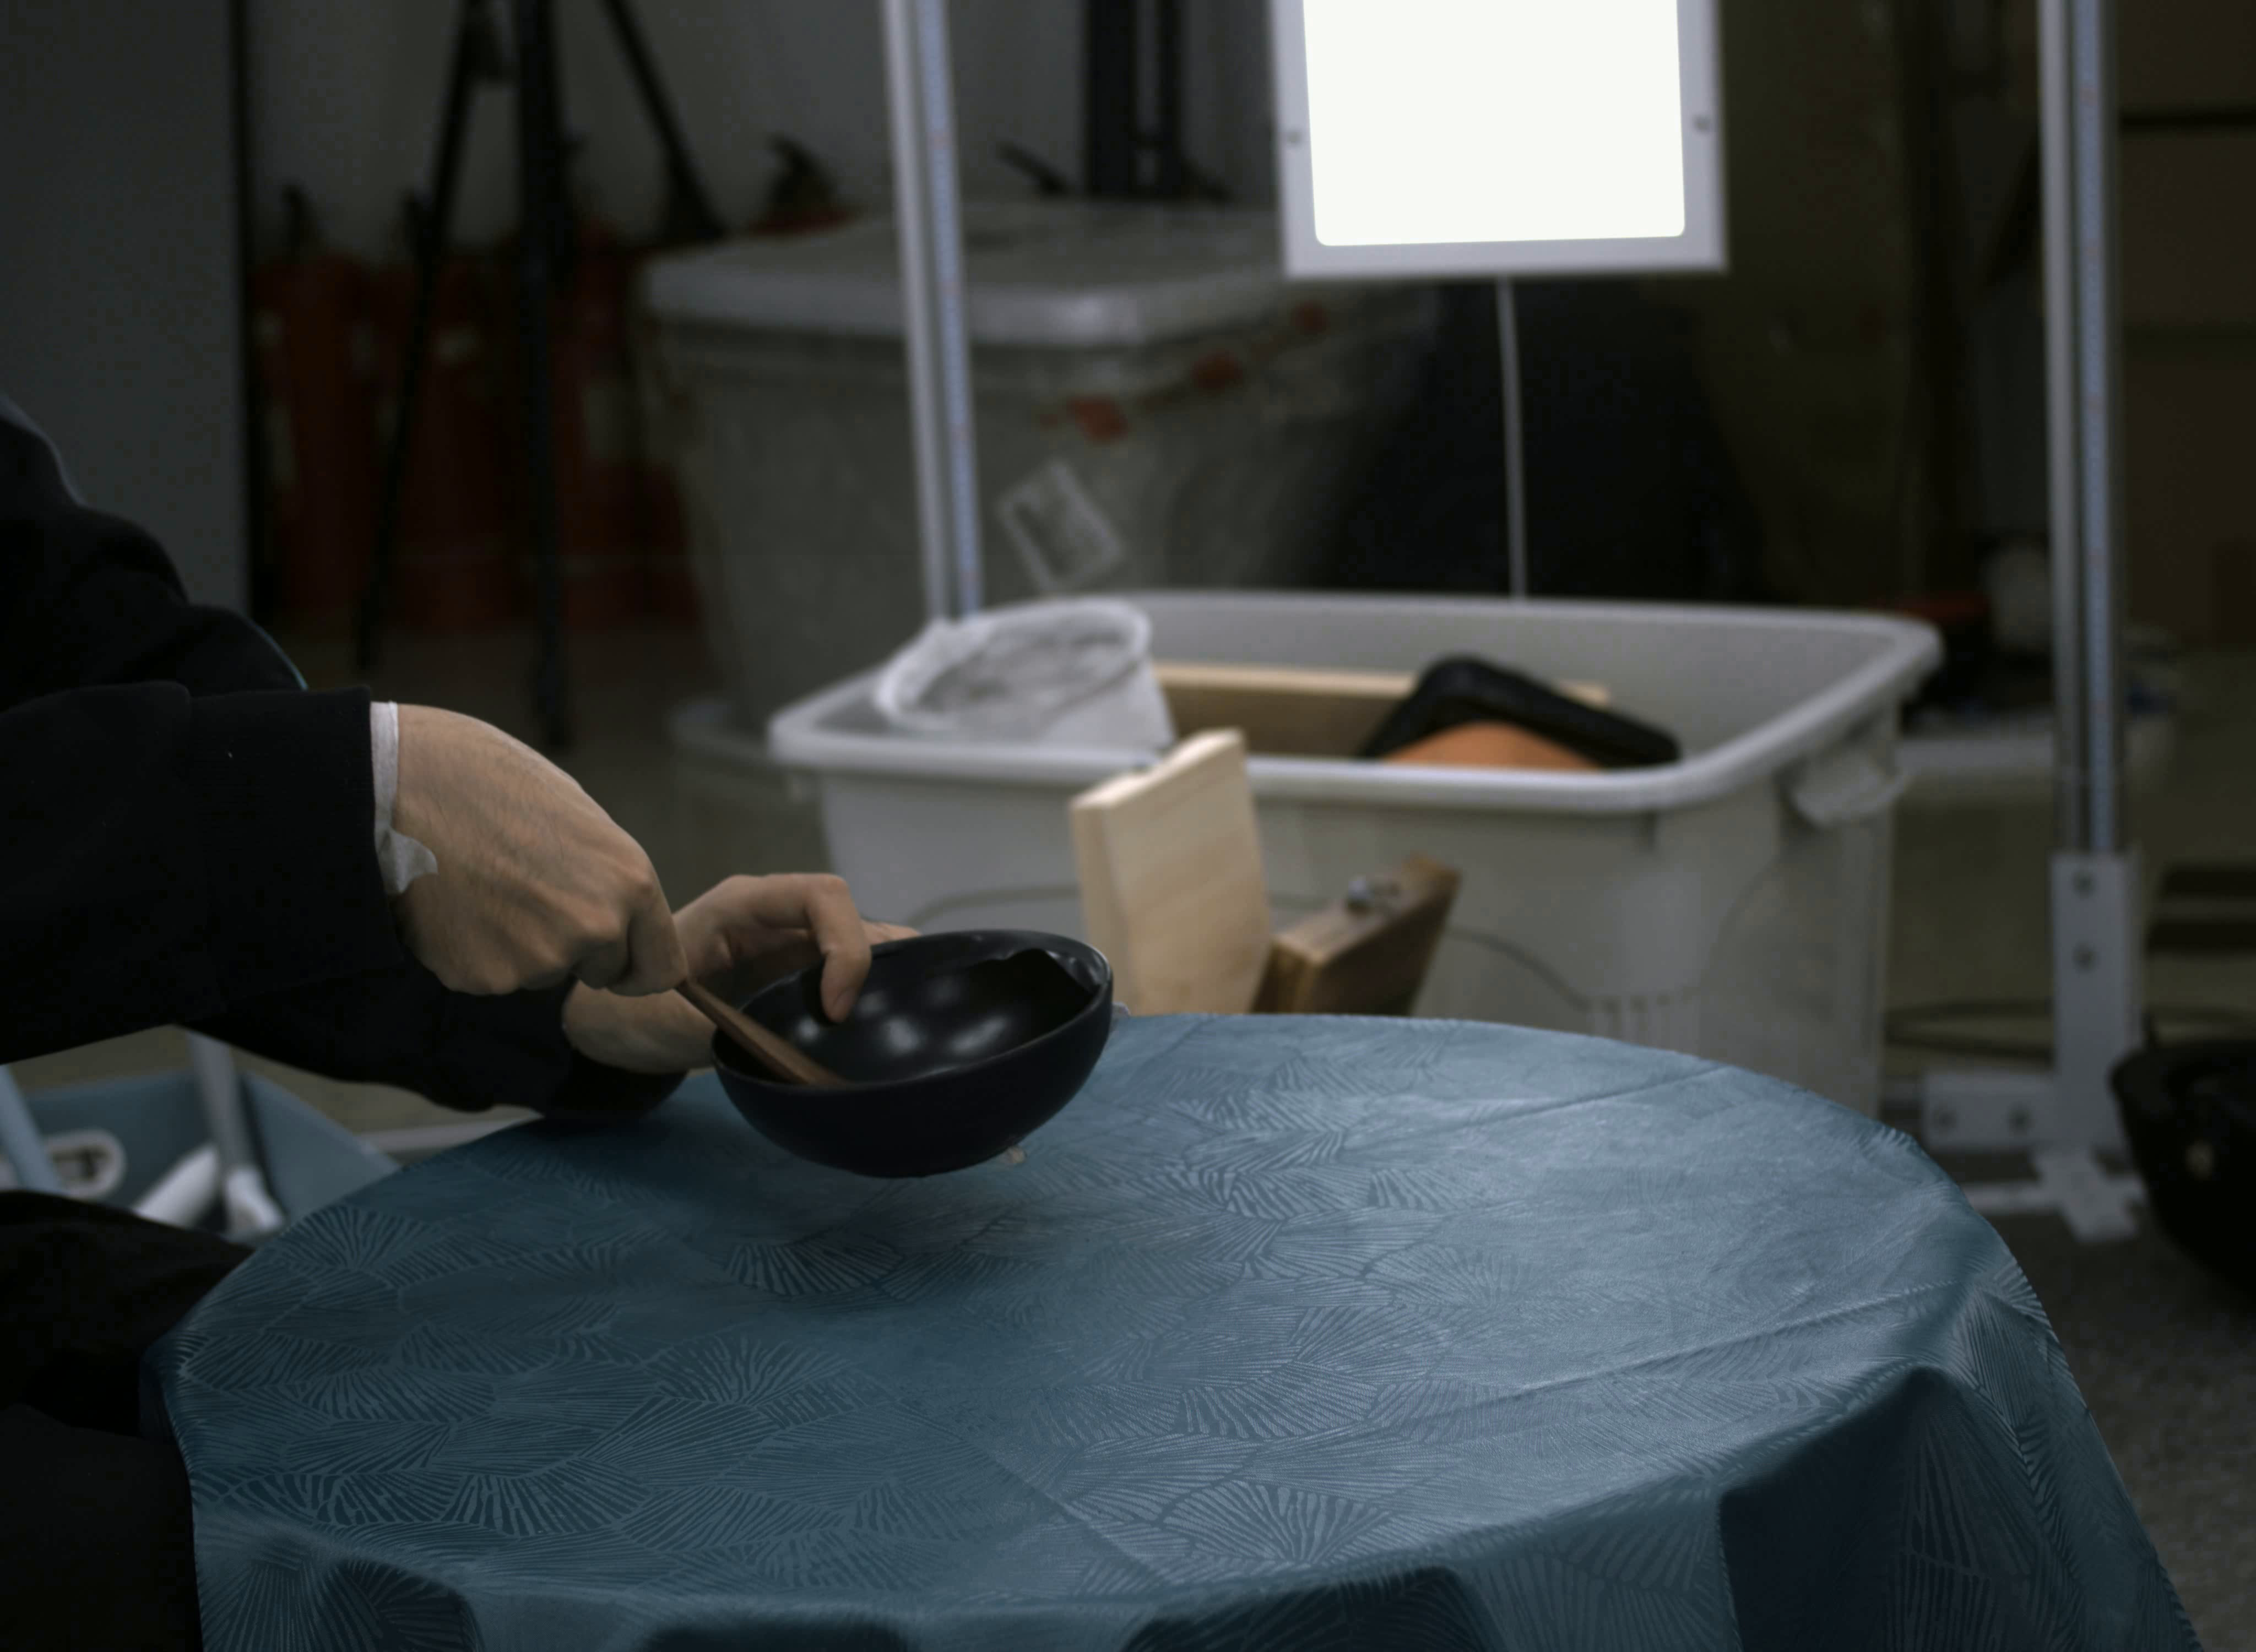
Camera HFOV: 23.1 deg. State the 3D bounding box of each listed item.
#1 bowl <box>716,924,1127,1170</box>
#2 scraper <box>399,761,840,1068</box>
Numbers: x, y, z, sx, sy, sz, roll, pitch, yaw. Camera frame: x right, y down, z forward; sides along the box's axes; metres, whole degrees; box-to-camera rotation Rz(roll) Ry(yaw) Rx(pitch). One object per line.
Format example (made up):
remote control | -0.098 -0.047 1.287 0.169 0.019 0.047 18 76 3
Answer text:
bowl | -0.069 0.080 1.861 0.139 0.050 0.140 -3 20 0
scraper | -0.159 0.042 1.844 0.209 0.011 0.076 37 1 -14
